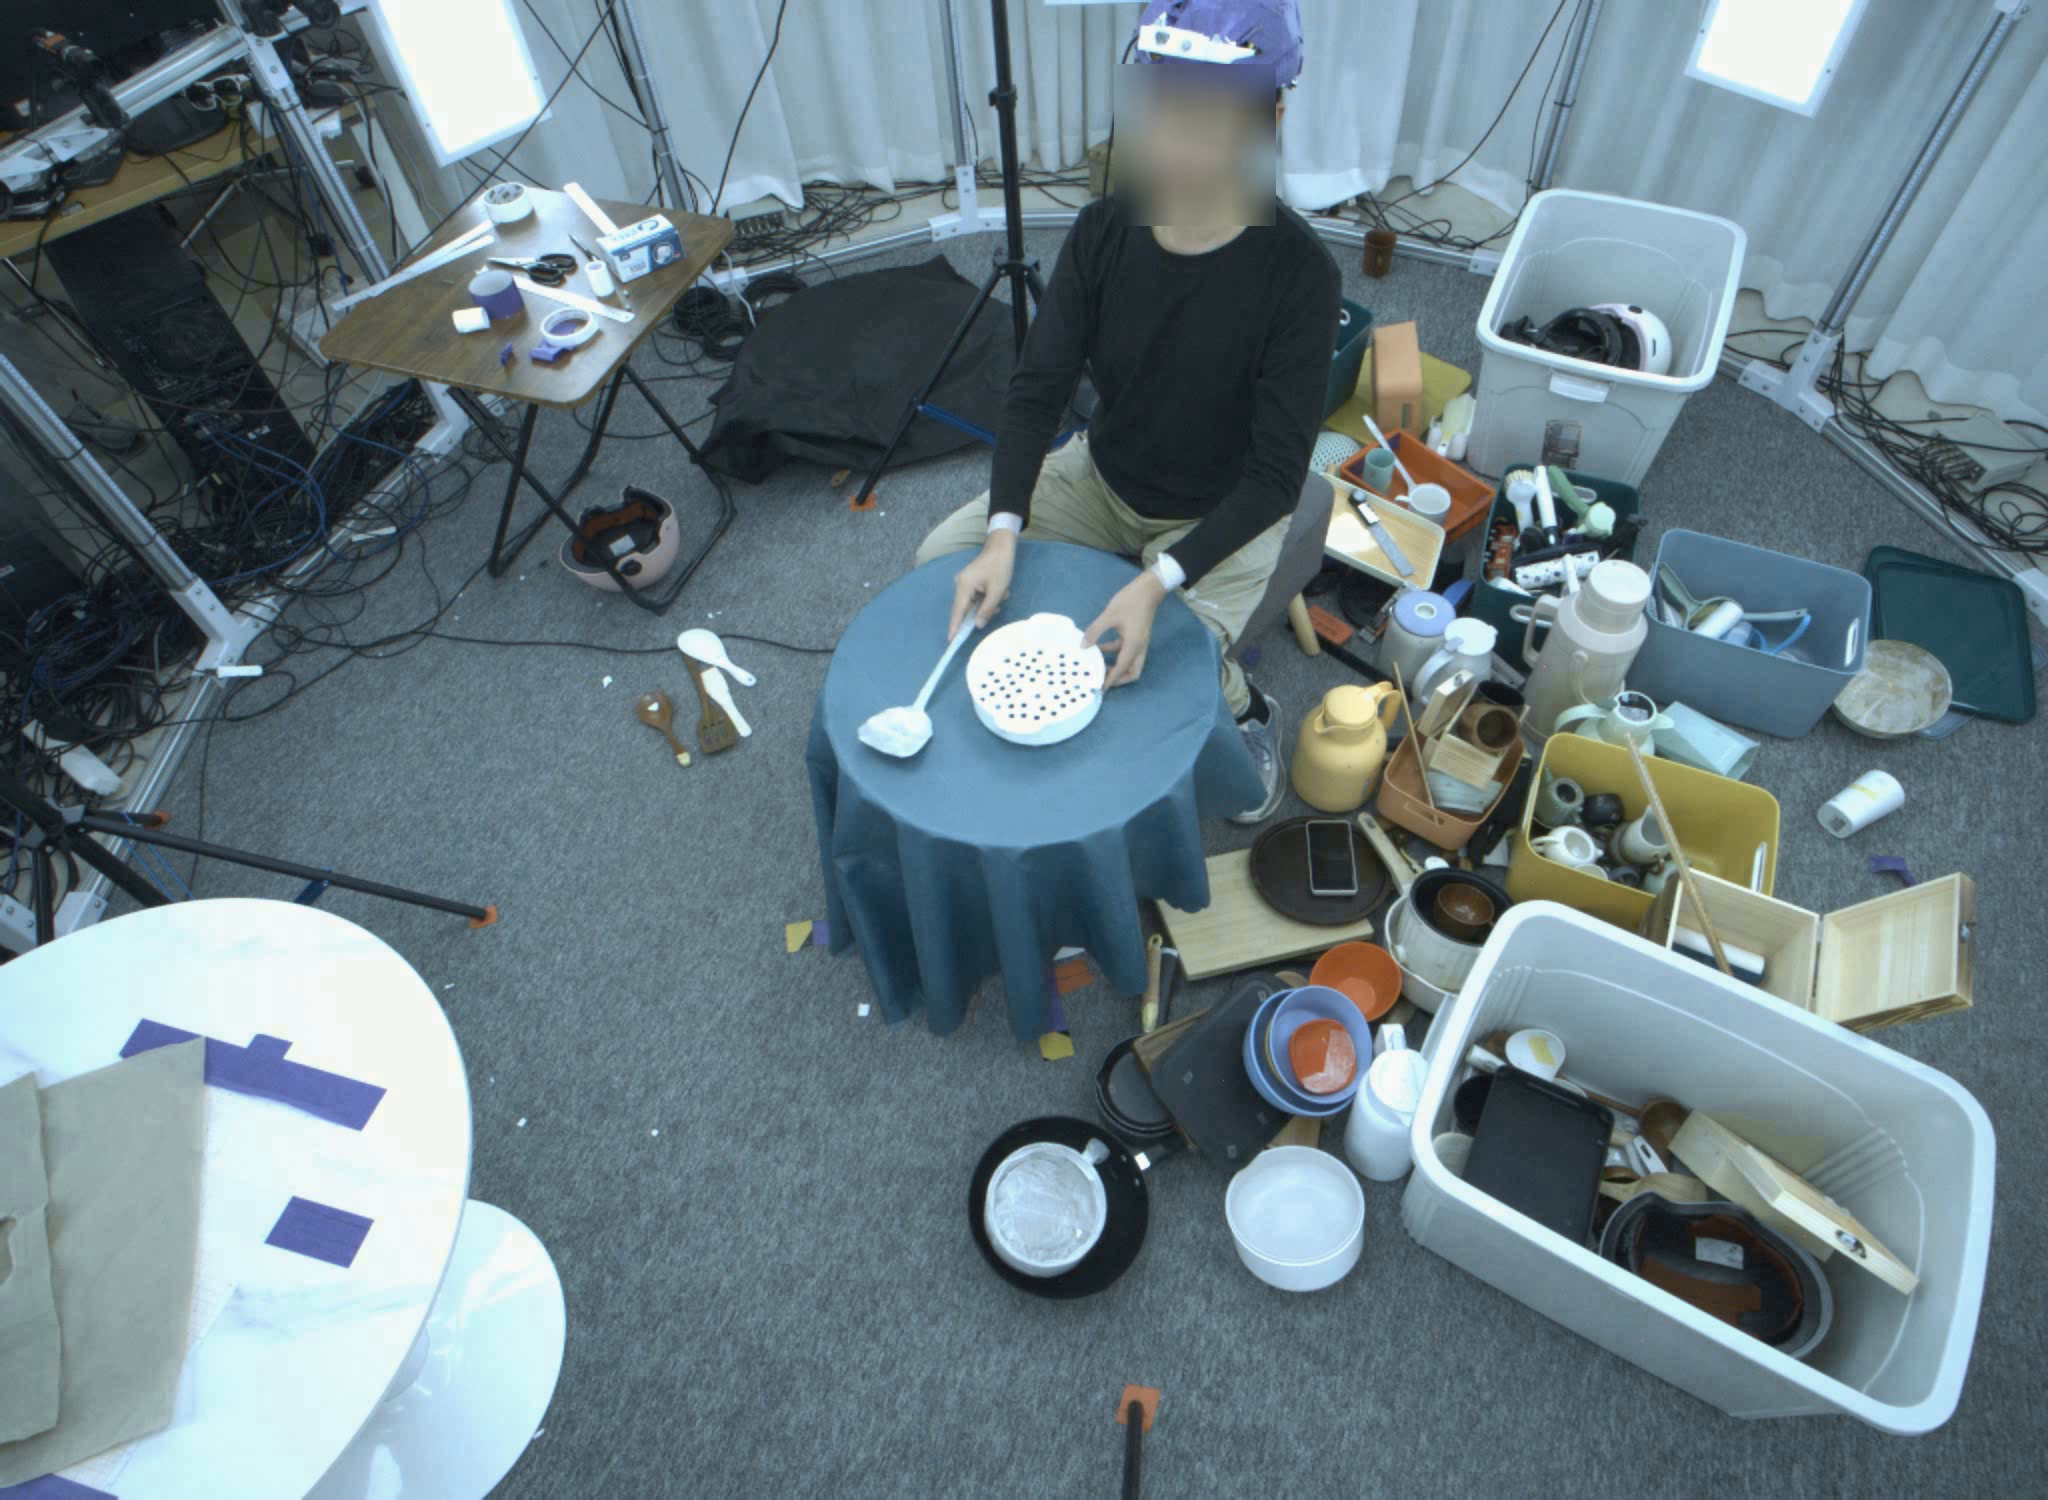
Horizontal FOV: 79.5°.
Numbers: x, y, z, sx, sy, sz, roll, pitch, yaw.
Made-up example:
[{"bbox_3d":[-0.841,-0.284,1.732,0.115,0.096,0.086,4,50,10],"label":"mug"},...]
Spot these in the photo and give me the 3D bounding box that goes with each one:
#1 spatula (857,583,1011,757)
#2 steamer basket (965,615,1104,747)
[{"bbox_3d":[-0.120,-0.133,1.846,0.097,0.045,0.365,23,66,19],"label":"spatula"},{"bbox_3d":[0.016,-0.097,1.811,0.200,0.070,0.230,11,55,10],"label":"steamer basket"}]
